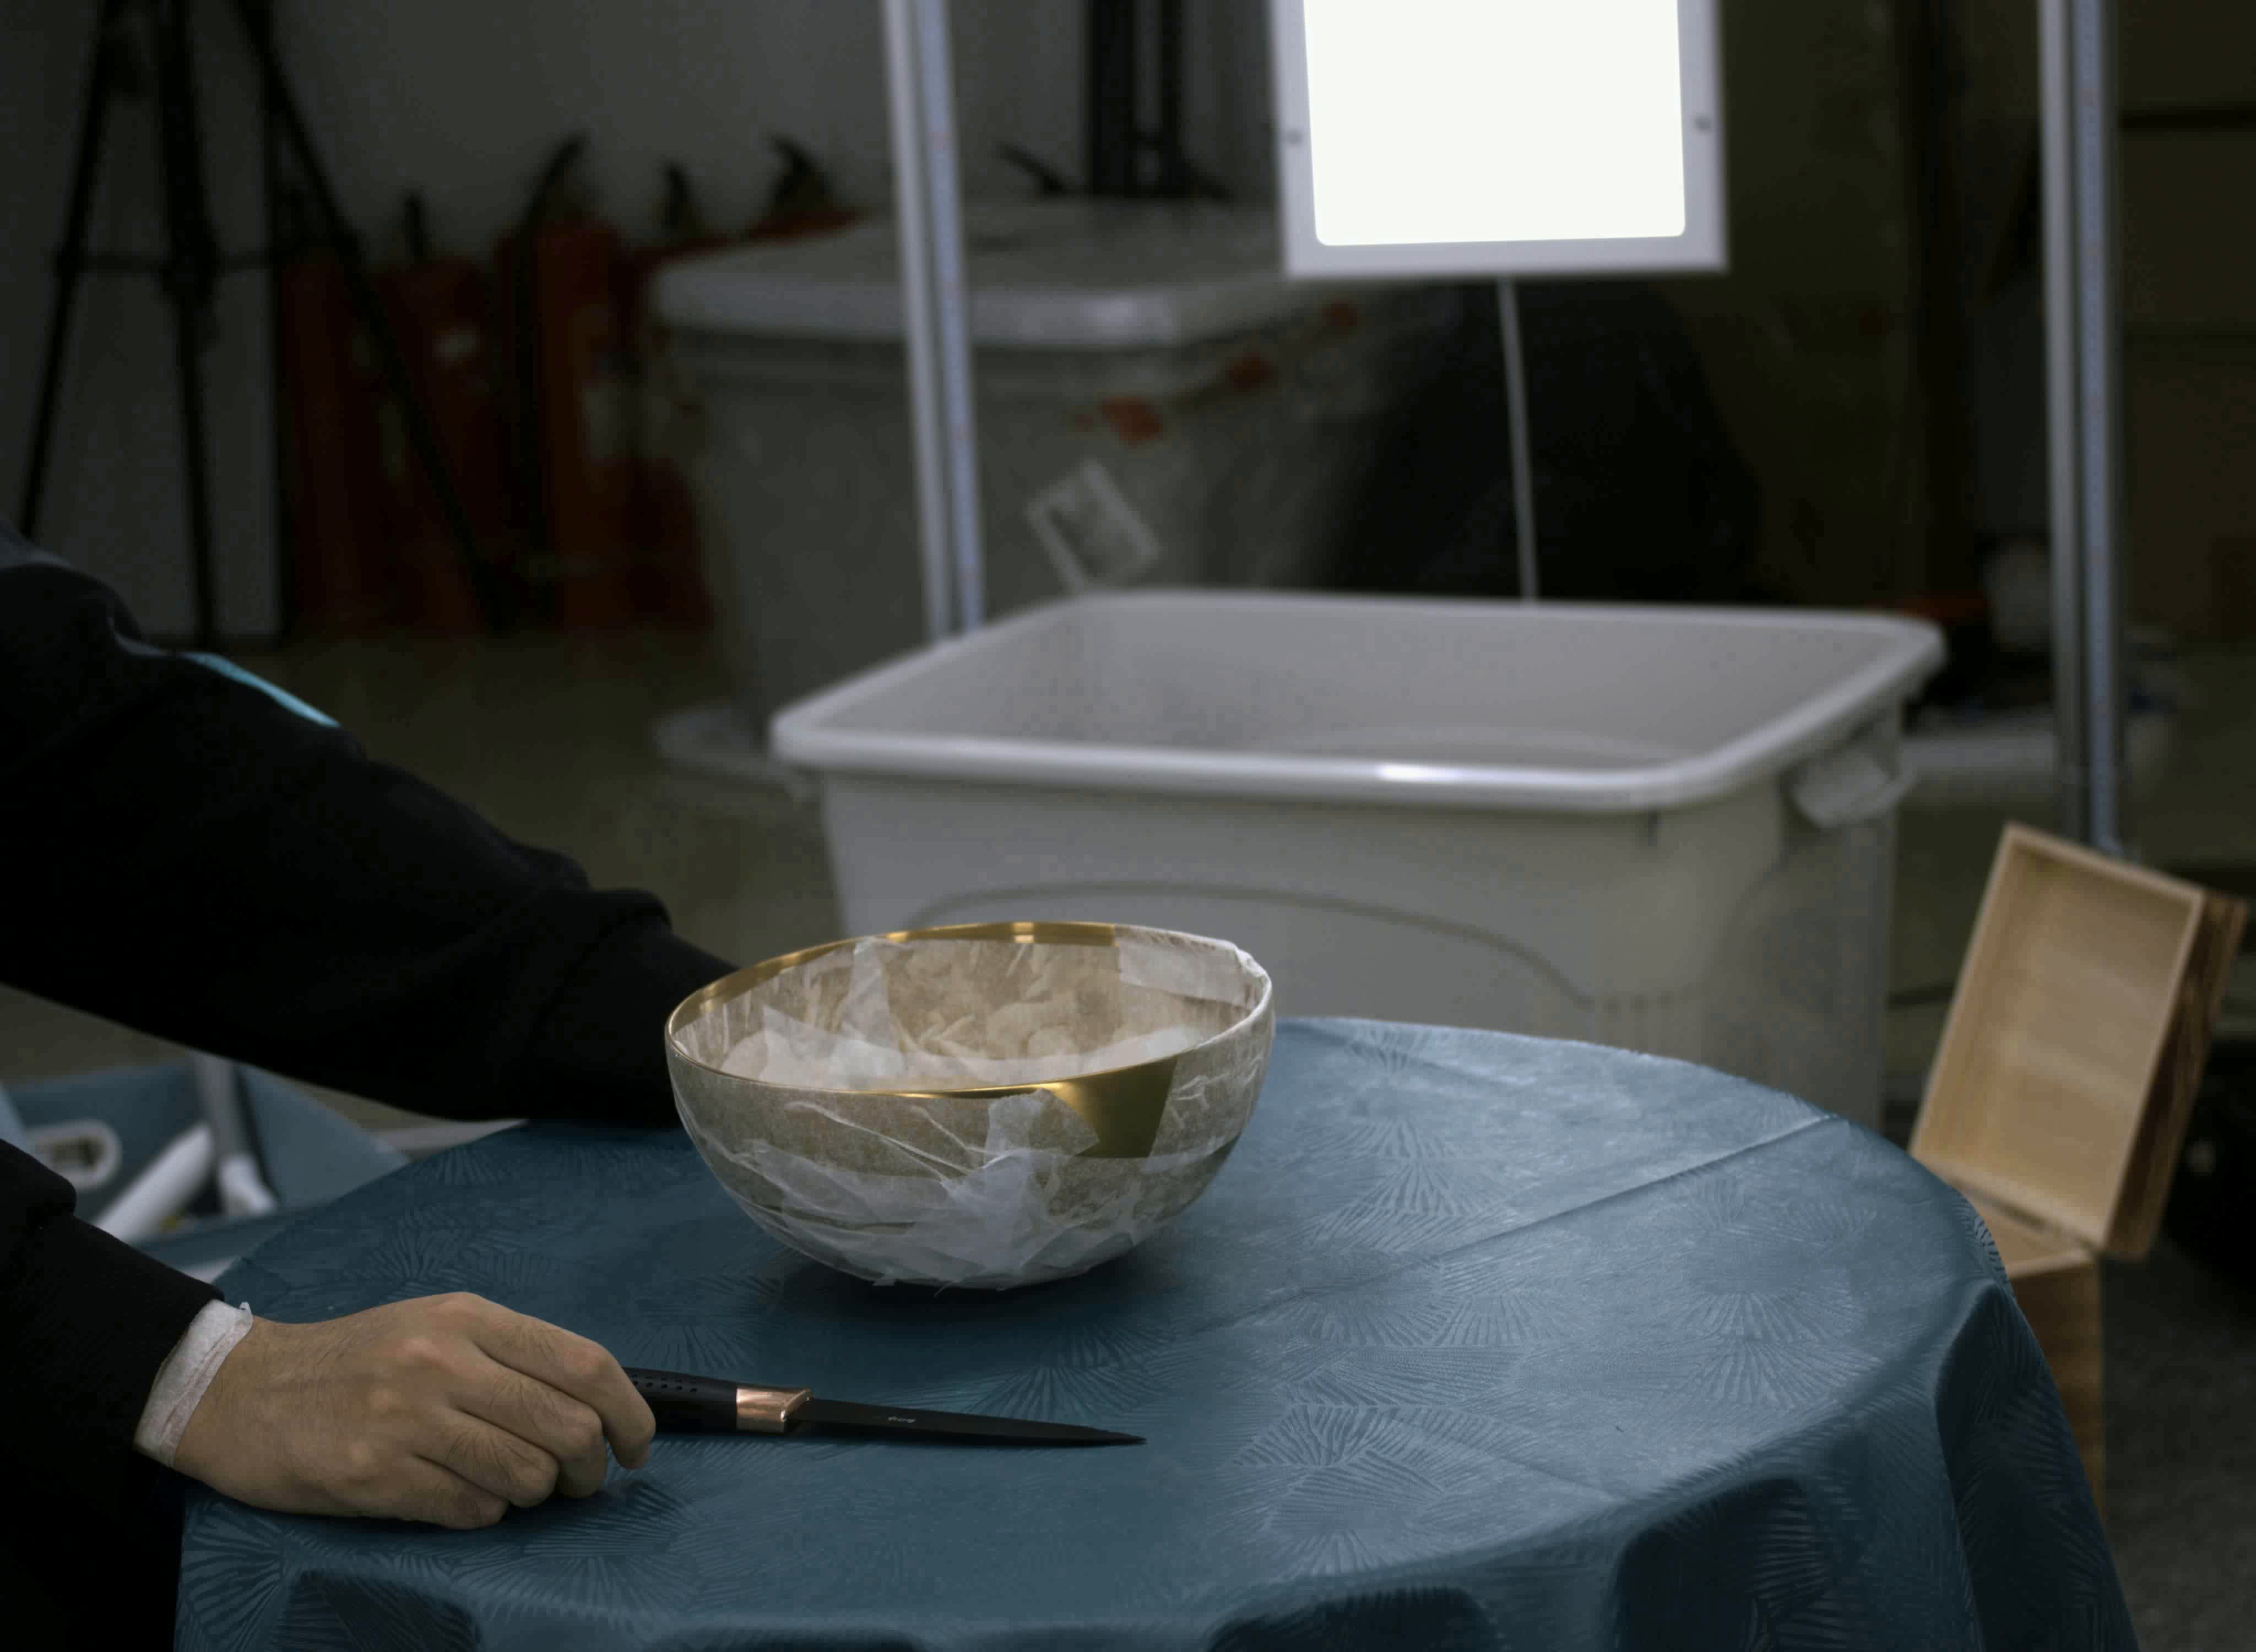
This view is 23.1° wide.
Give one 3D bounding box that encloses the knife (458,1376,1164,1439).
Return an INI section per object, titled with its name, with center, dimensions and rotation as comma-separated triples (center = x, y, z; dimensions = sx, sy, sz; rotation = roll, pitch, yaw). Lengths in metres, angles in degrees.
[knife]
center = -0.099, 0.180, 1.695
dimensions = 0.228, 0.017, 0.026
rotation = 0, 8, 18

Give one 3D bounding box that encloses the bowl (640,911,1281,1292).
[bowl]
center = -0.053, 0.099, 1.828
dimensions = 0.214, 0.095, 0.214
rotation = -5, 15, 0
